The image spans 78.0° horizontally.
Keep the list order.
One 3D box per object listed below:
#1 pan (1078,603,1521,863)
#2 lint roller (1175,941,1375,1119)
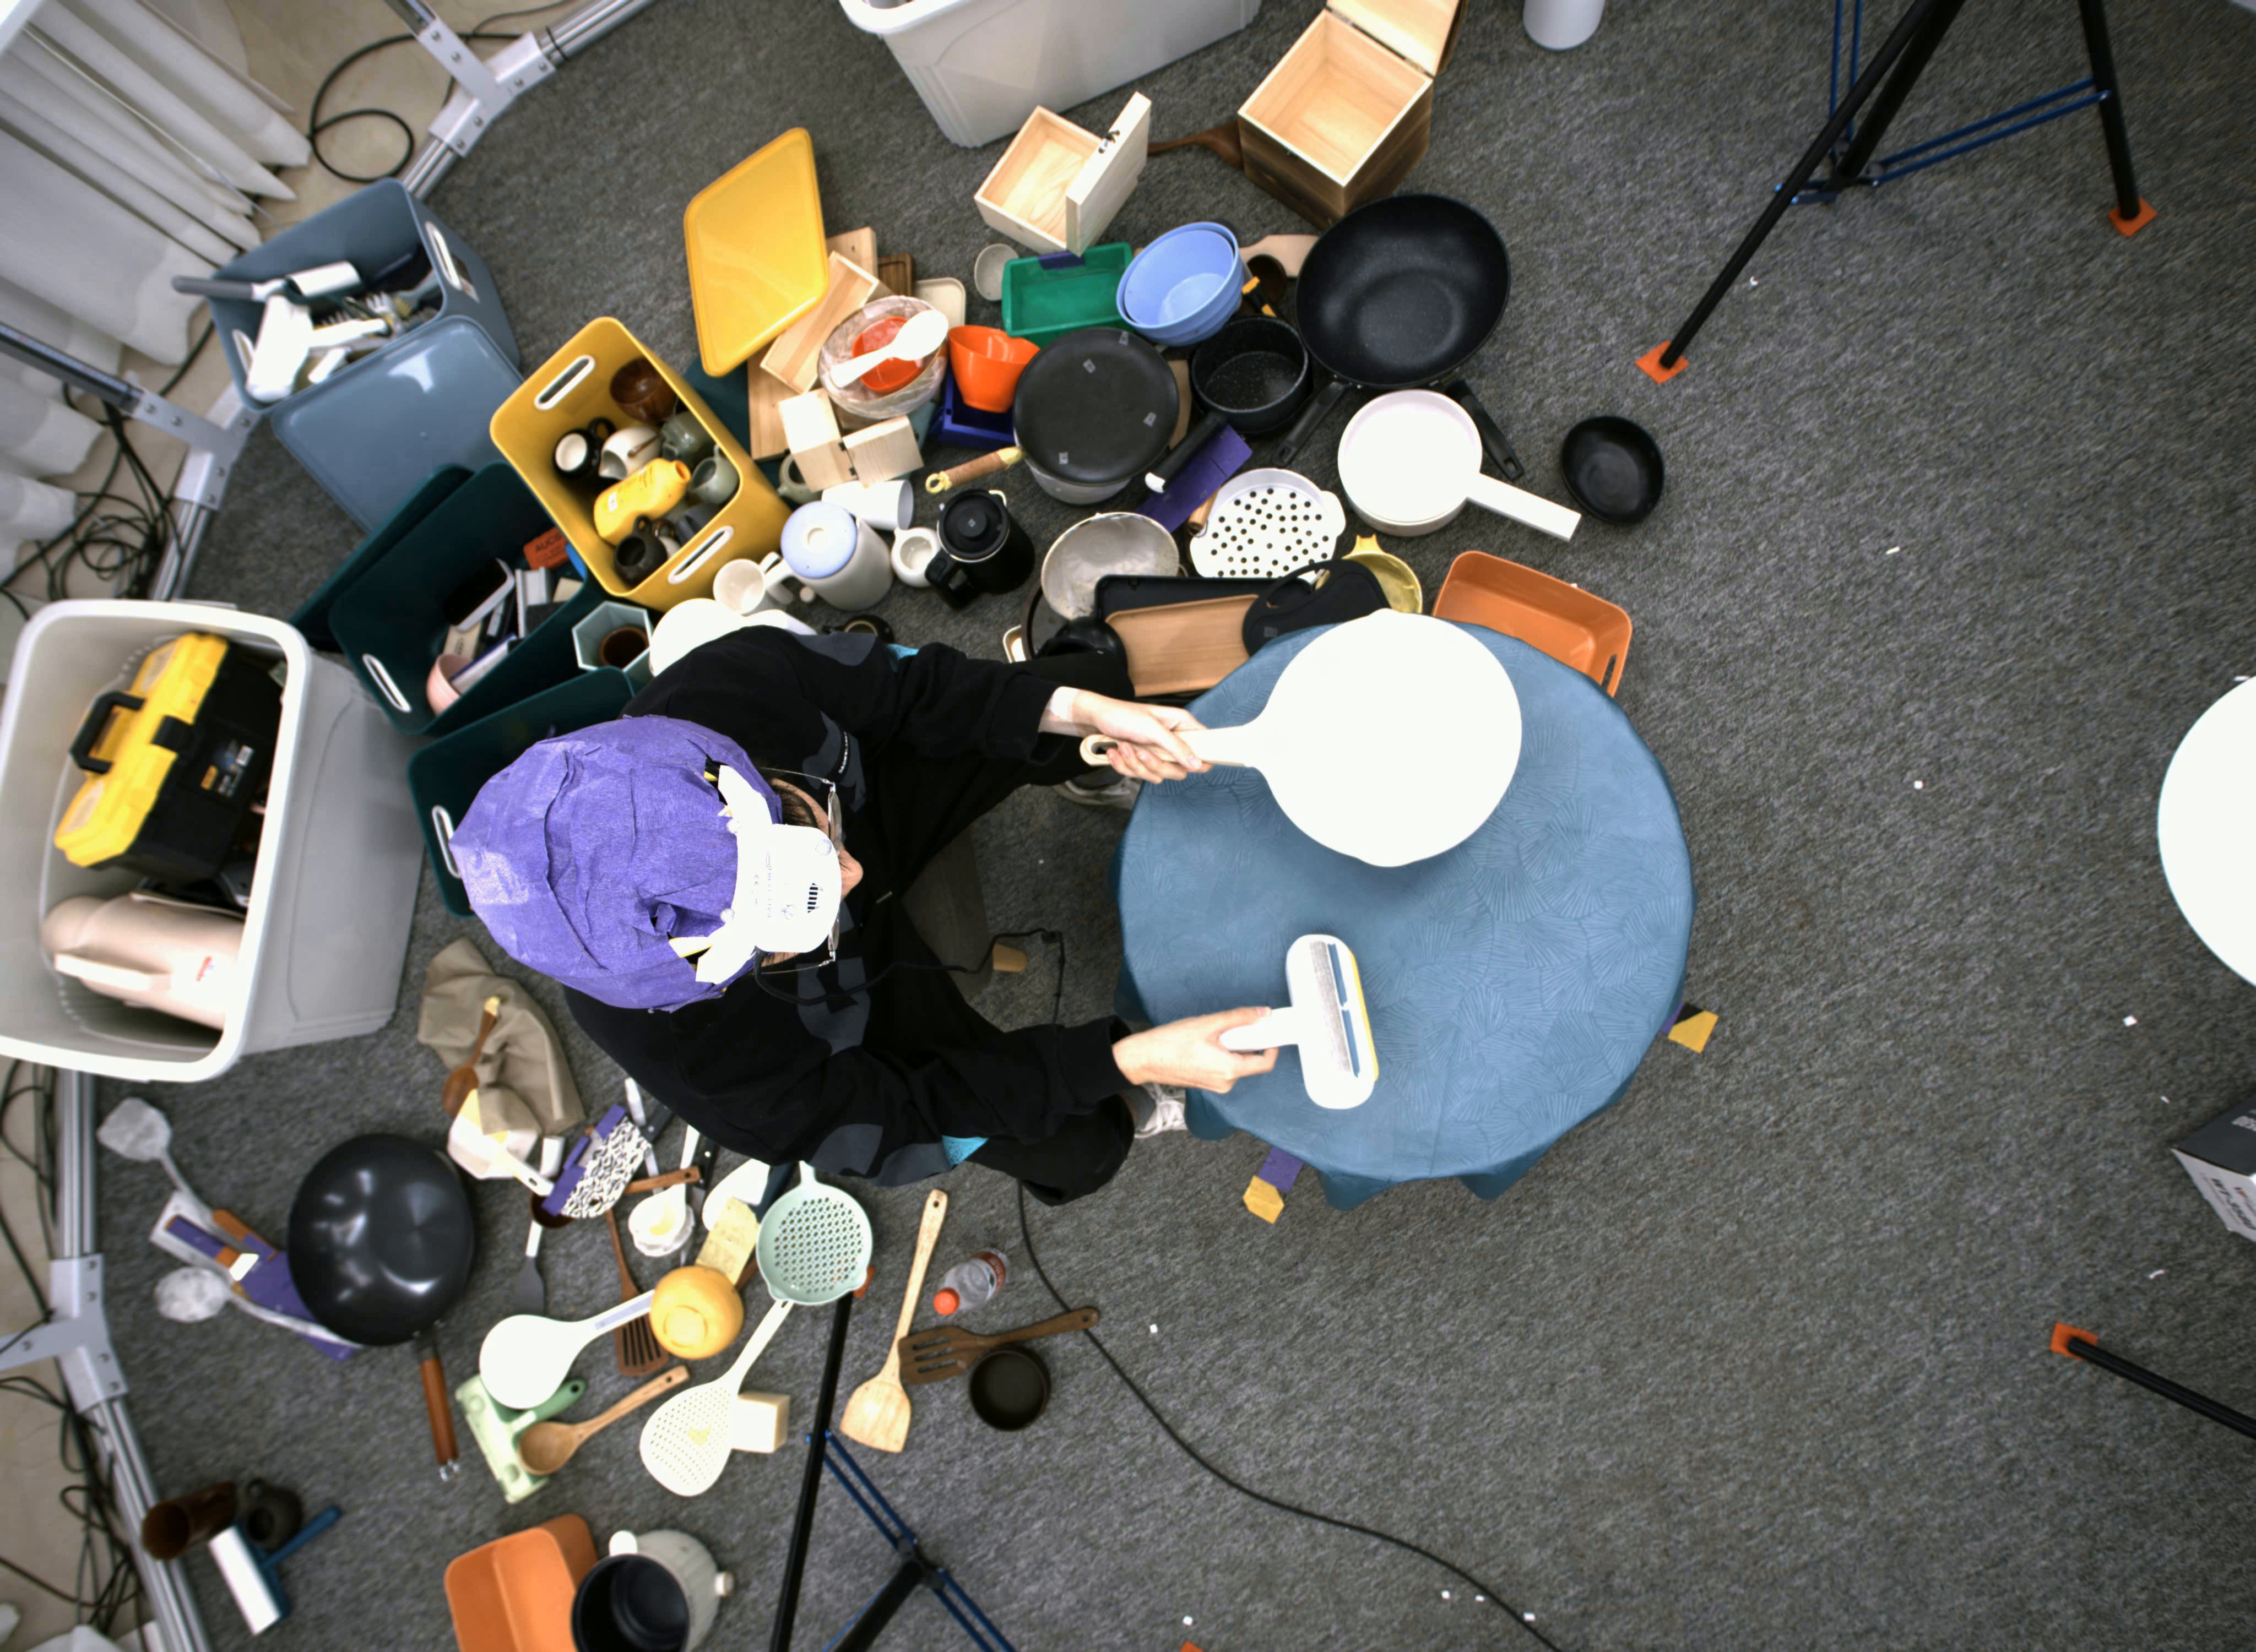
[{"bbox_3d":[0.172,-0.081,1.385,0.437,0.102,0.260,-4,79,18],"label":"pan"},{"bbox_3d":[0.144,0.206,1.394,0.193,0.076,0.188,-2,56,2],"label":"lint roller"}]
